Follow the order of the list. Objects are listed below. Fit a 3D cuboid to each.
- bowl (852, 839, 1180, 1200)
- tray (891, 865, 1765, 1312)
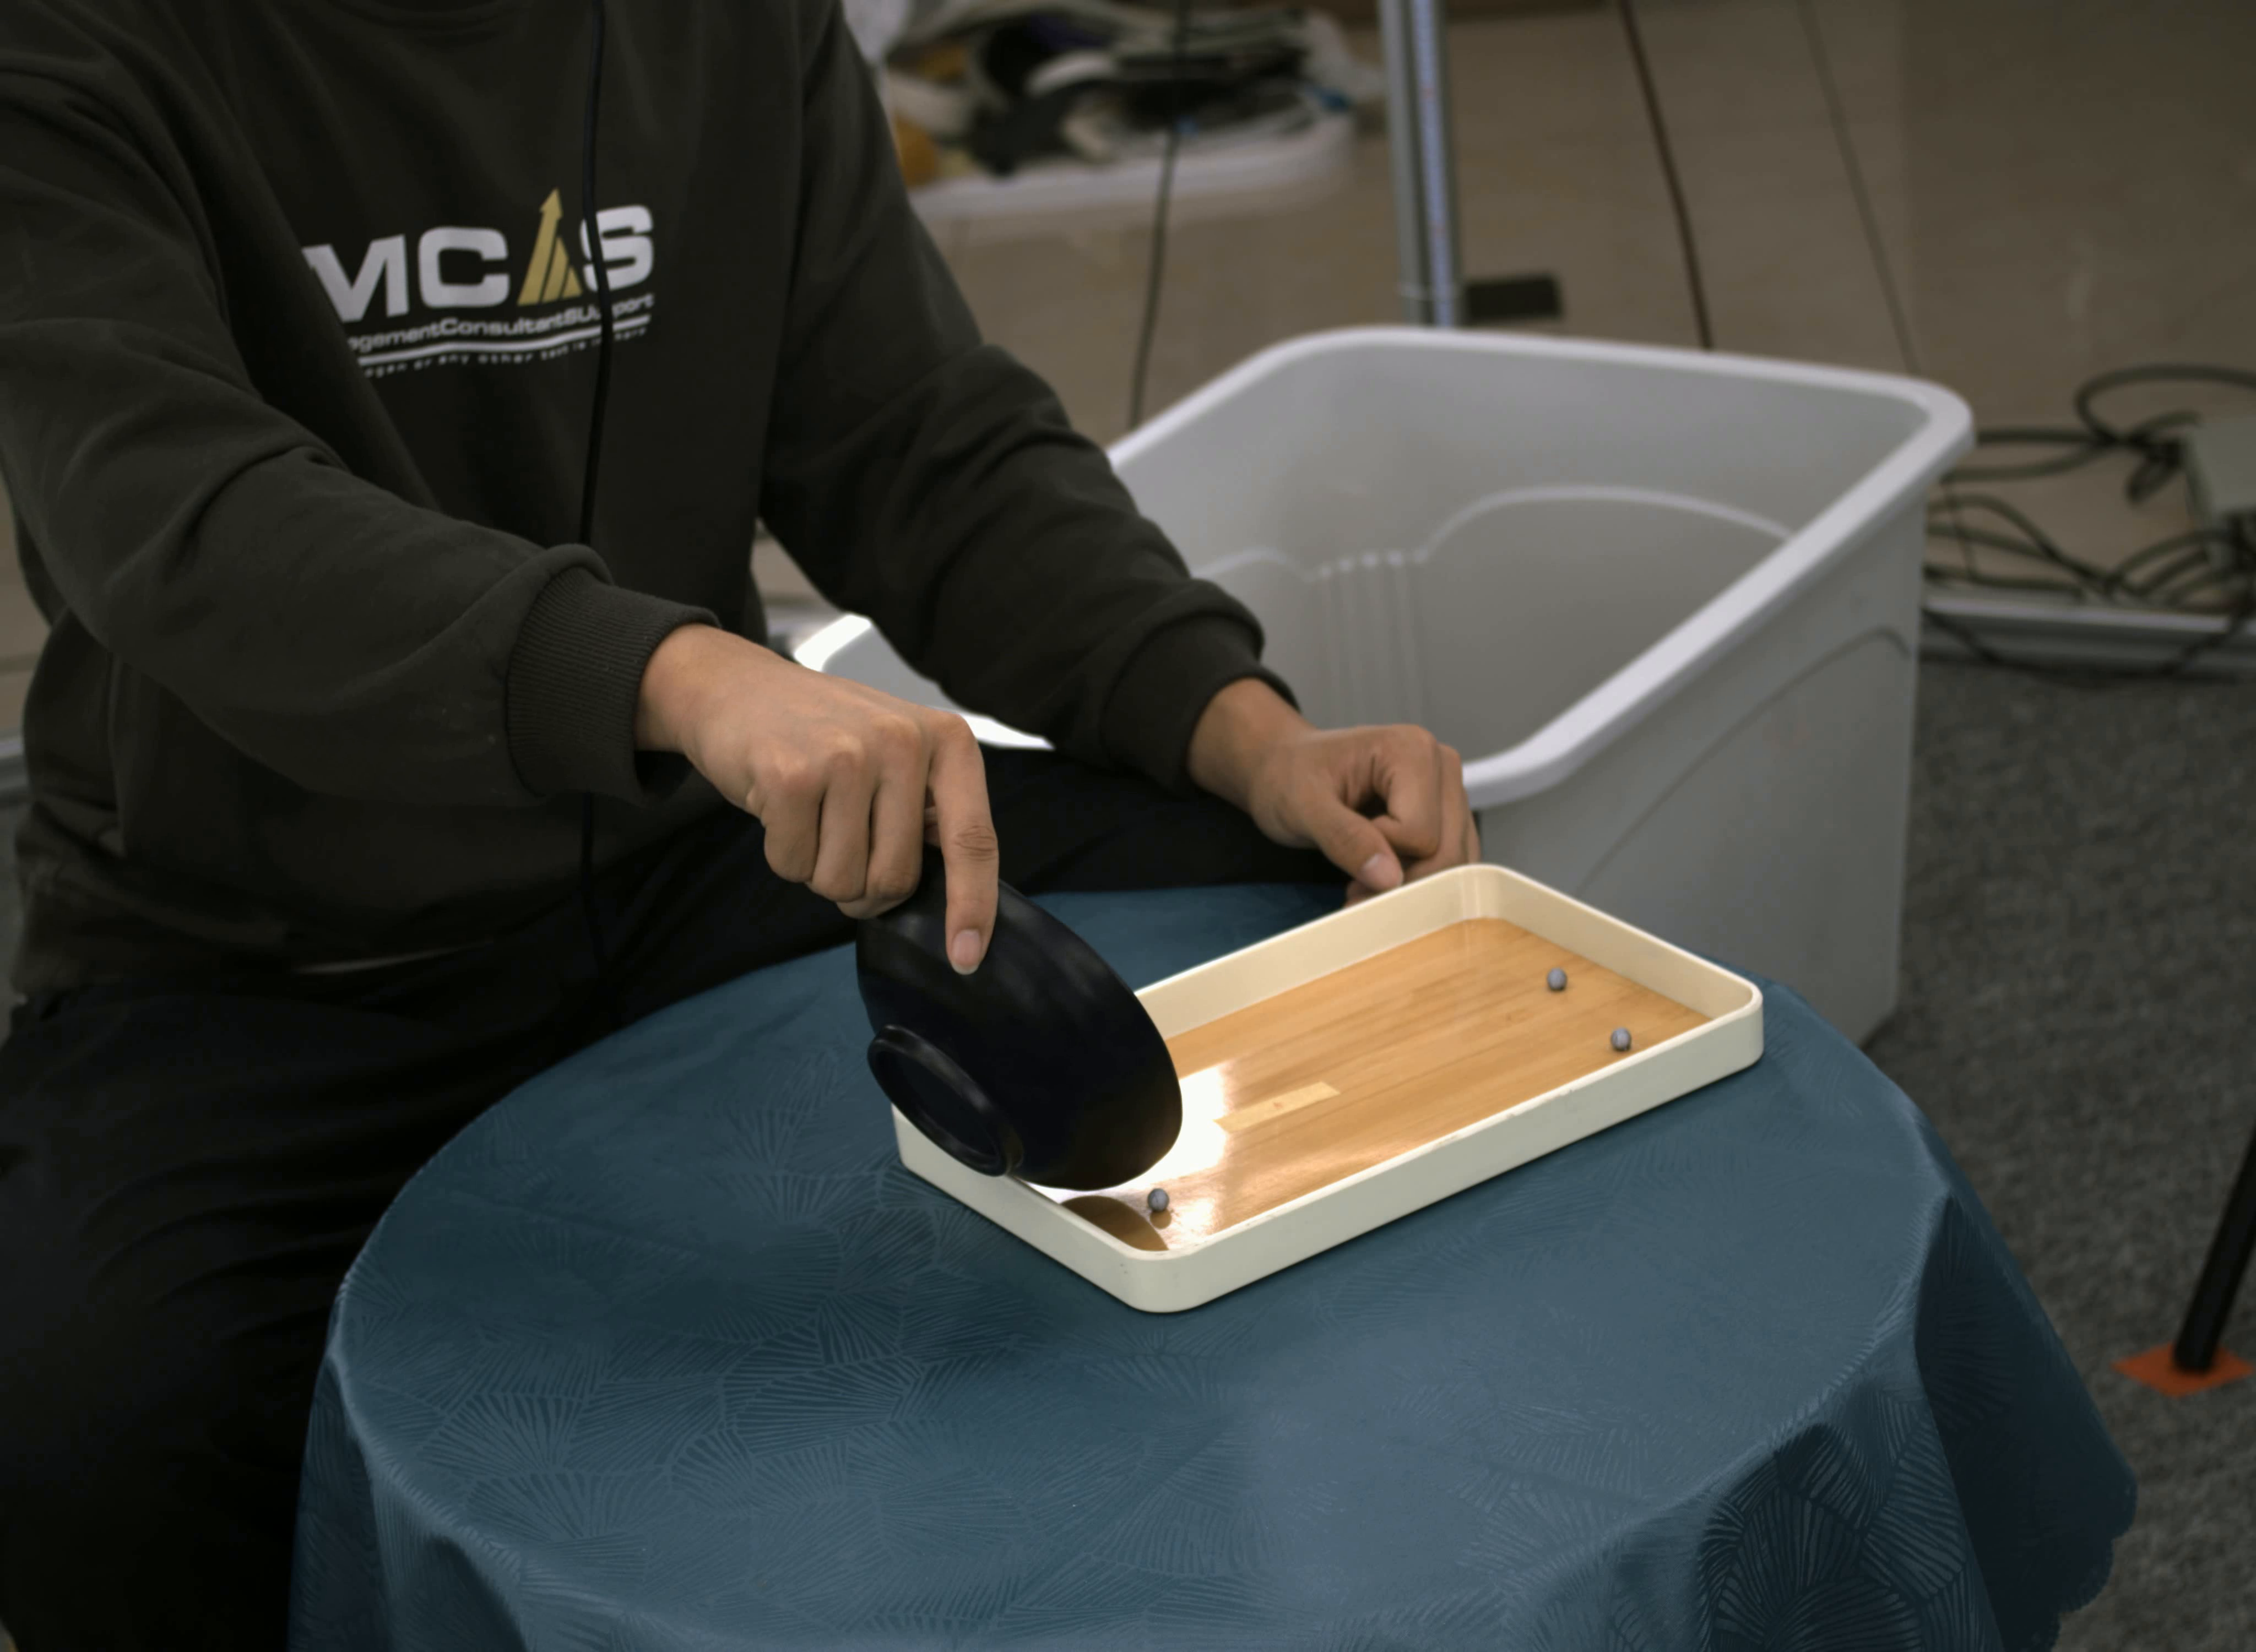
[{"bbox_3d":[-0.053,0.082,2.083,0.136,0.173,0.066,26,63,42],"label":"bowl"},{"bbox_3d":[0.078,0.097,2.187,0.298,0.028,0.190,-21,28,-29],"label":"tray"}]
